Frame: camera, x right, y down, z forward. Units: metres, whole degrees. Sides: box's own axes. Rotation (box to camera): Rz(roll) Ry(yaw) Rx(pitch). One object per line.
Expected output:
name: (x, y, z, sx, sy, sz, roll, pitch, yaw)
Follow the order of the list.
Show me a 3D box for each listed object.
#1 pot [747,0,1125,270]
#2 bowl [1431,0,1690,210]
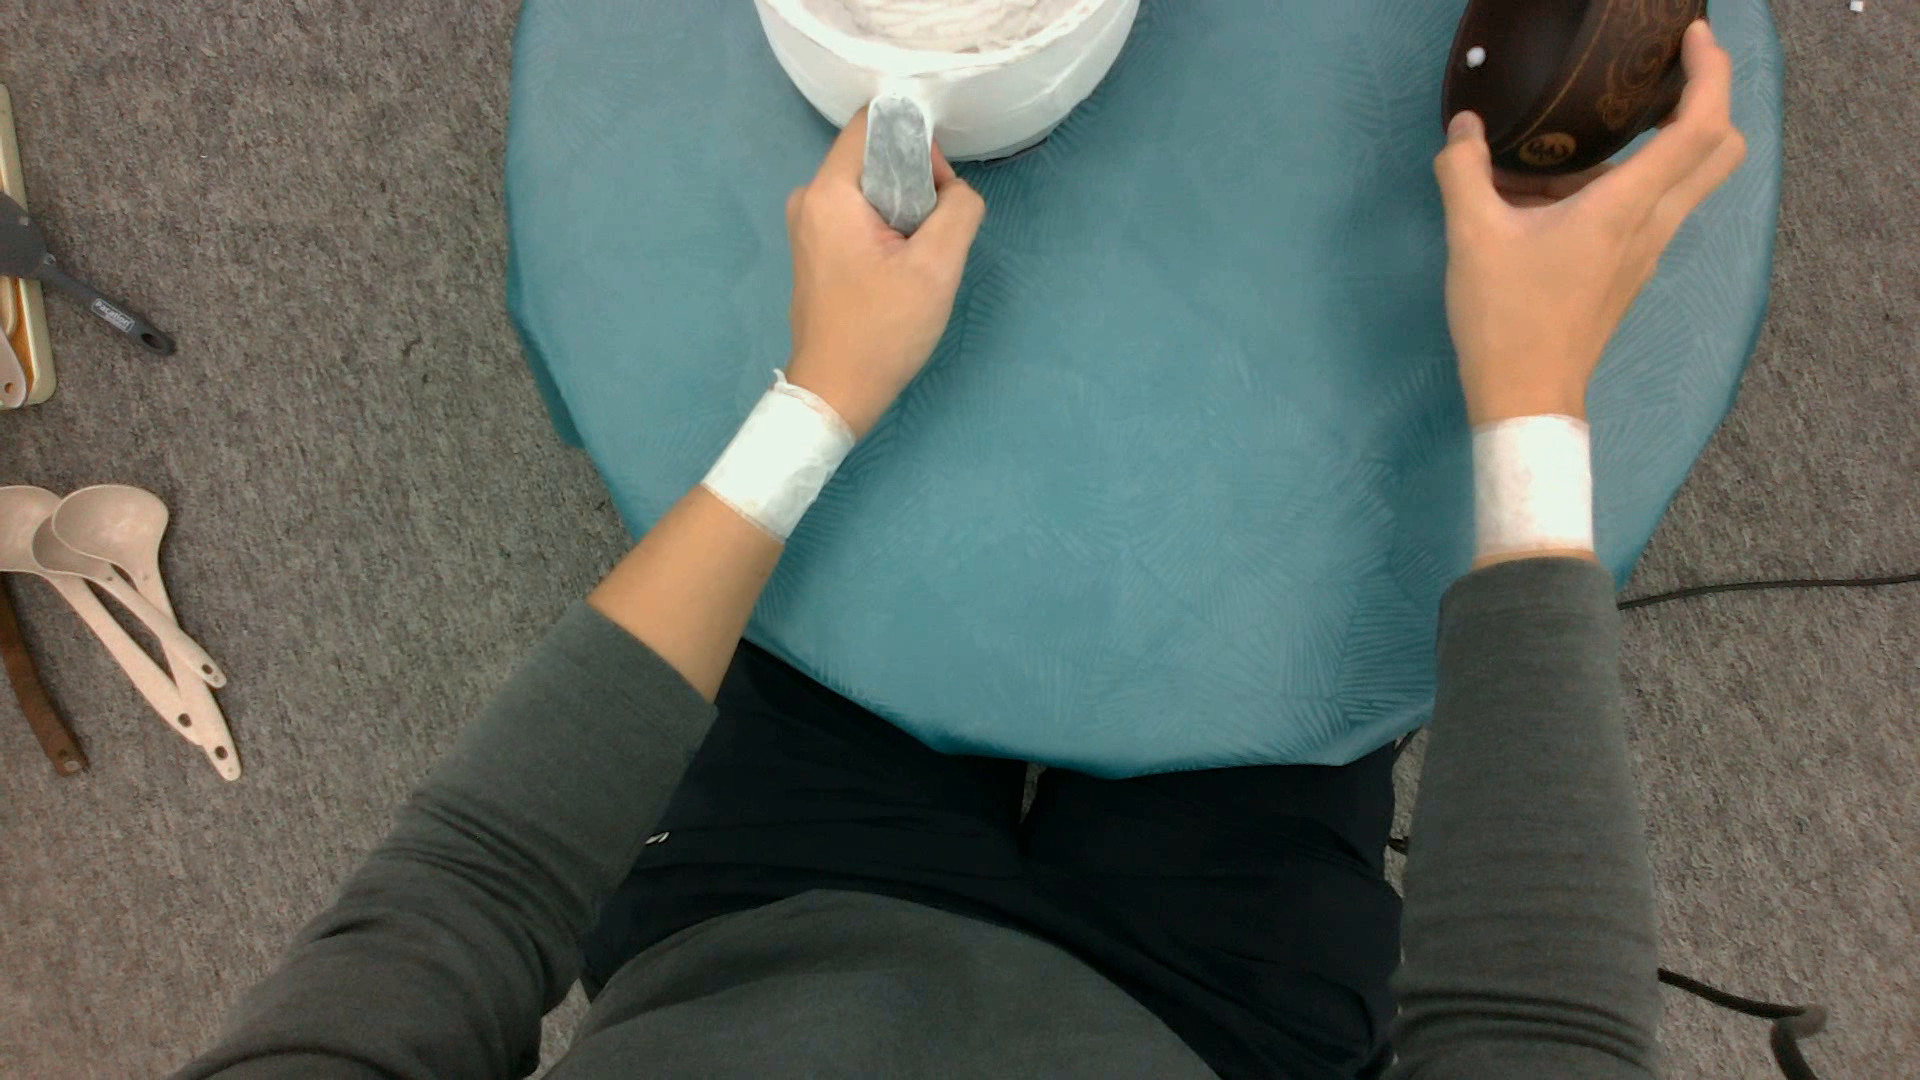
pot: (-0.015, -0.238, 0.588, 0.179, 0.136, 0.233, 7, 90, 2)
bowl: (0.259, -0.197, 0.581, 0.070, 0.118, 0.118, 8, 88, -8)
